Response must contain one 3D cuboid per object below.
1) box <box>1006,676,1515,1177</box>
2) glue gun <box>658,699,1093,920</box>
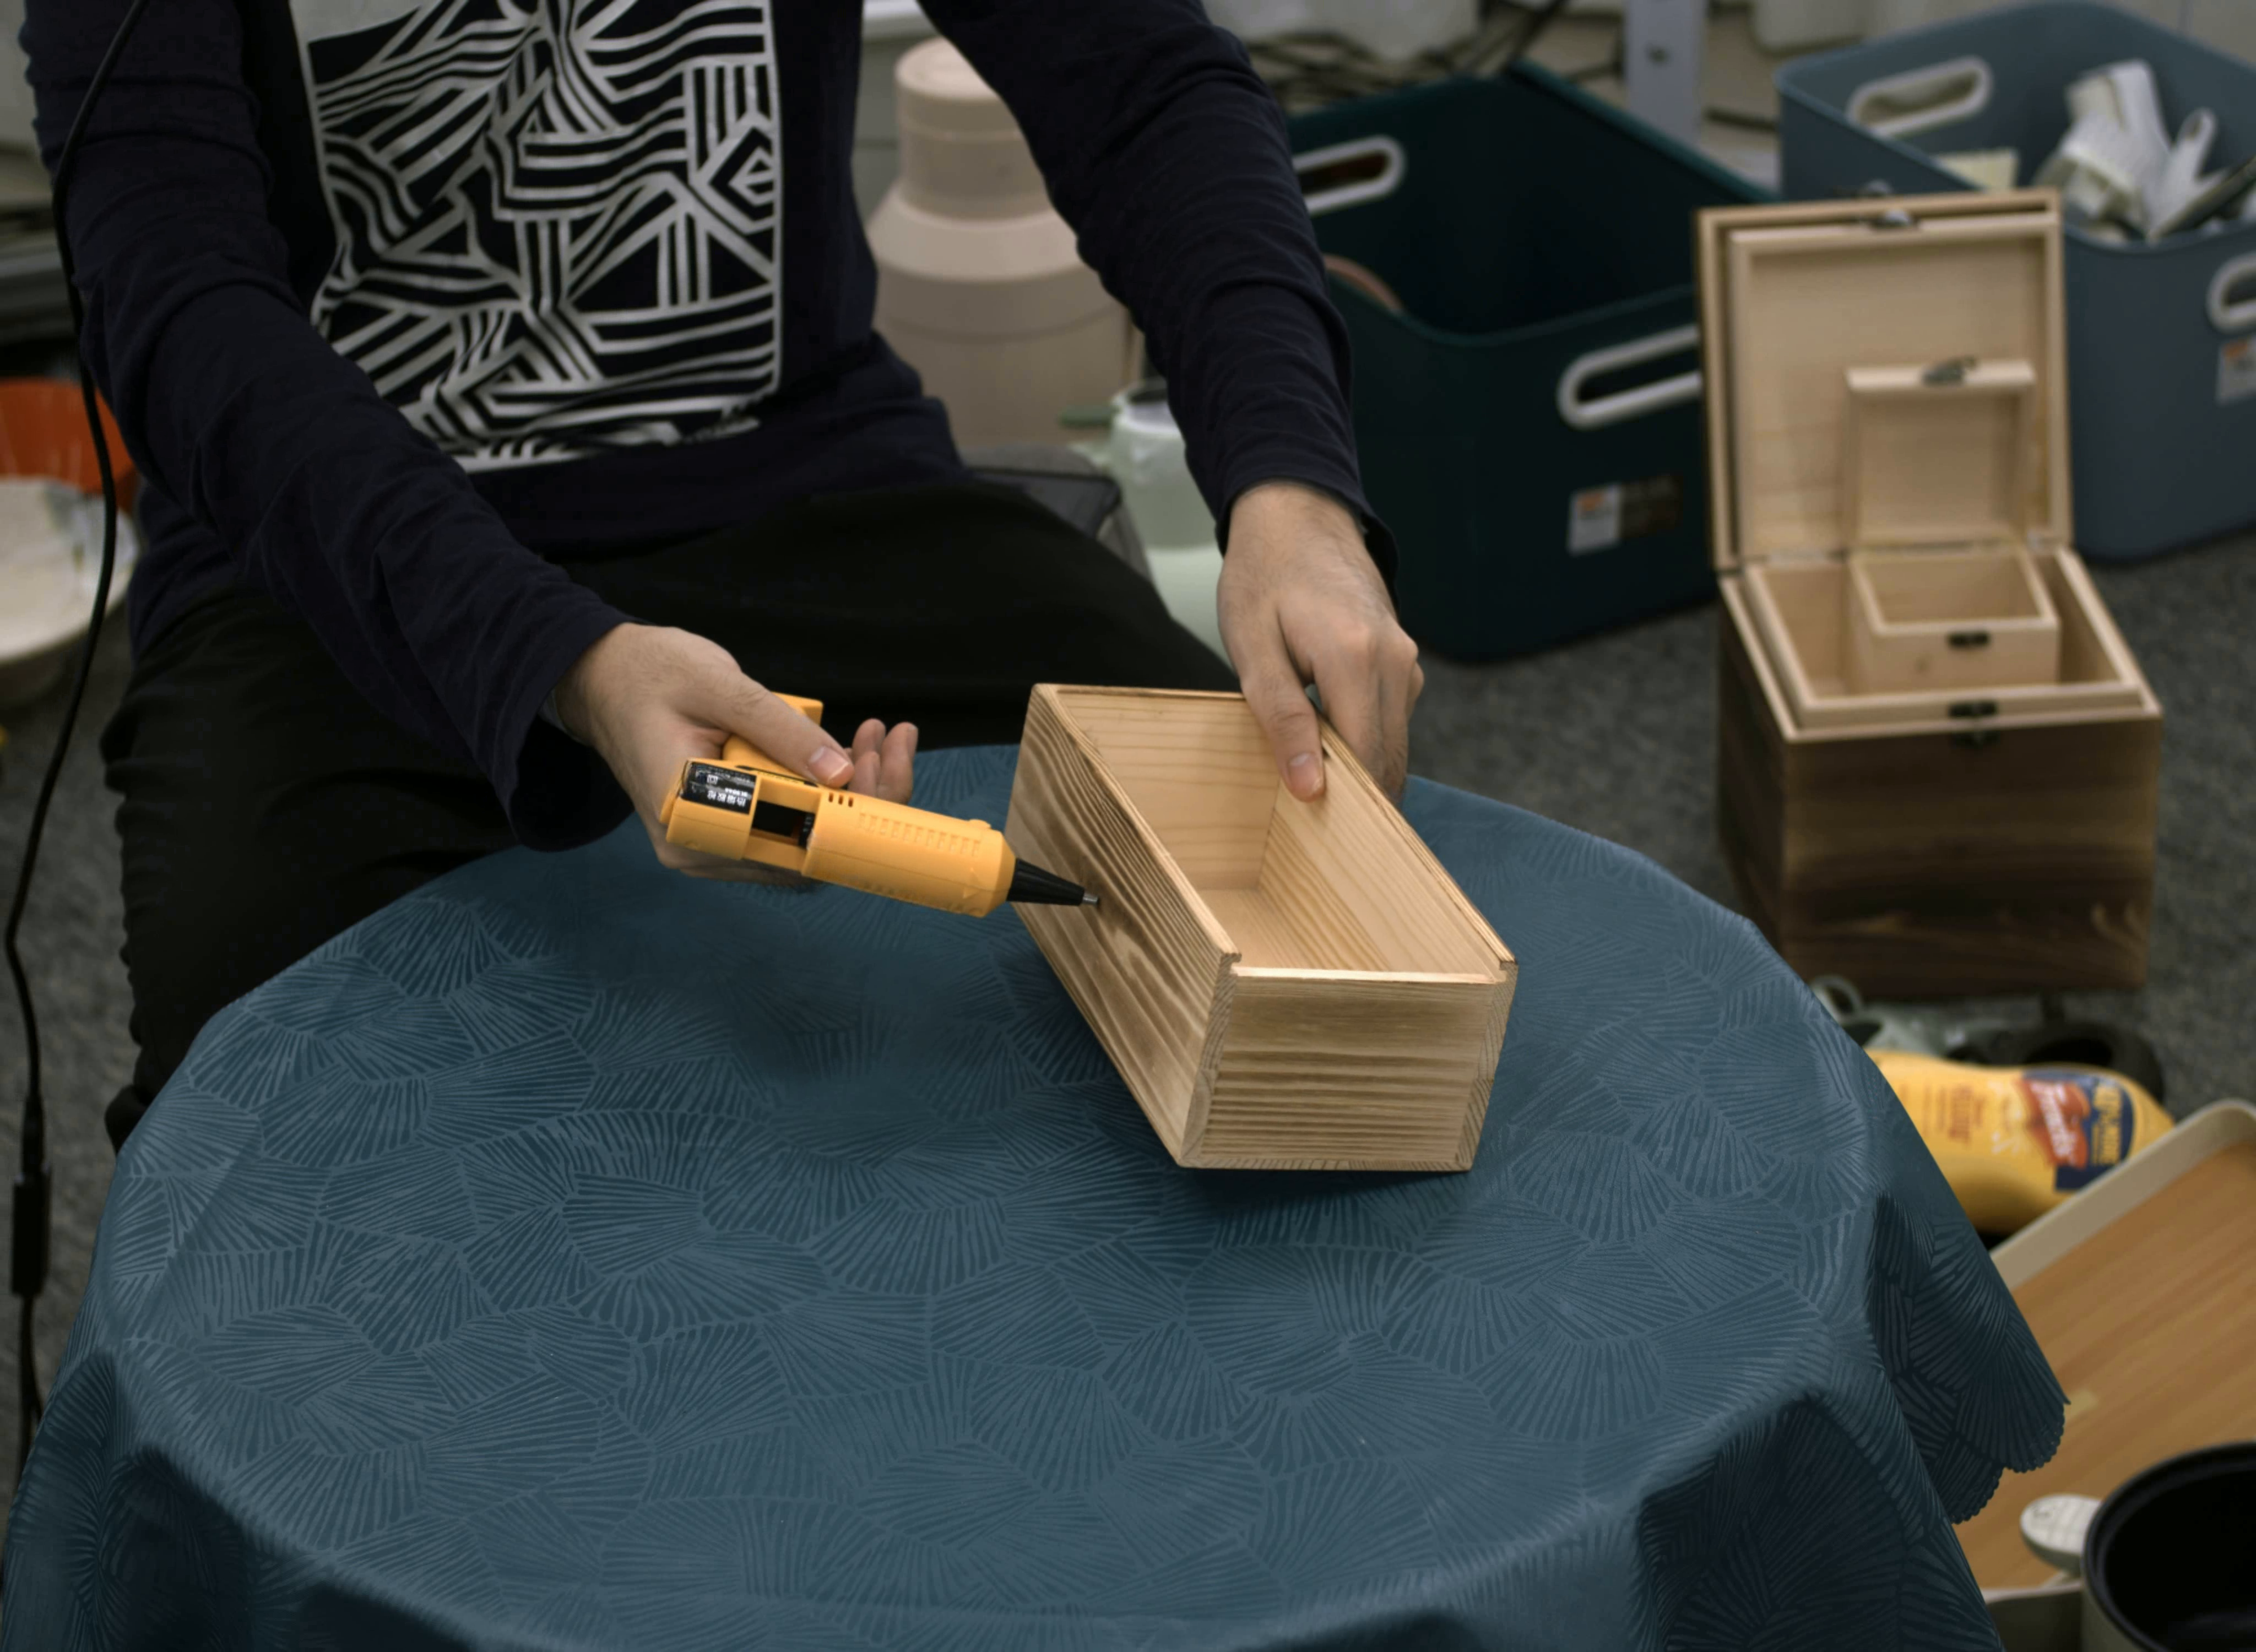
[{"bbox_3d":[0.041,0.032,1.924,0.107,0.079,0.213,3,25,-20],"label":"box"},{"bbox_3d":[-0.082,-0.003,1.946,0.151,0.031,0.134,16,14,-1],"label":"glue gun"}]
